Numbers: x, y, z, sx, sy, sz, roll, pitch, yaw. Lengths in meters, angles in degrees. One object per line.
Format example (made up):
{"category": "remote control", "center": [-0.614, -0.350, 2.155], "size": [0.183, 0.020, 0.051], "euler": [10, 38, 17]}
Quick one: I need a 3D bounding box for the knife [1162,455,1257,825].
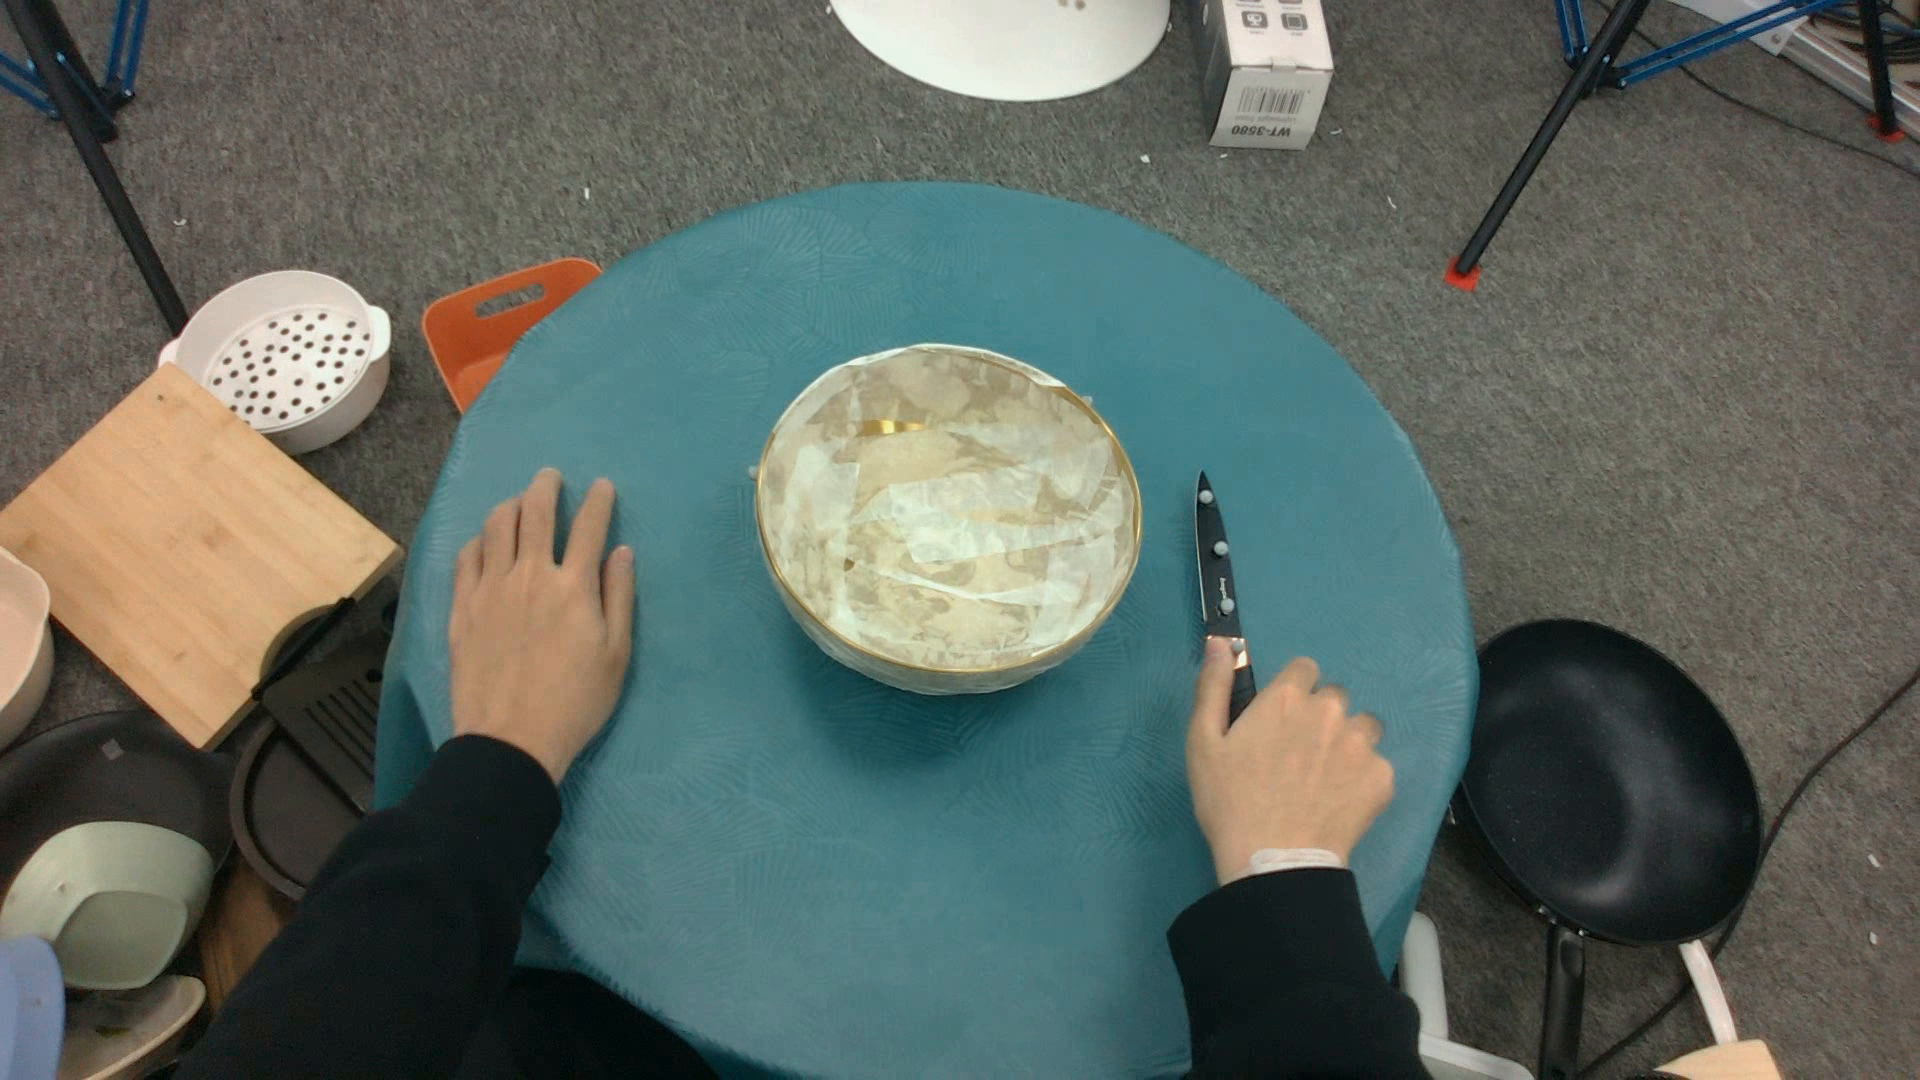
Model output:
{"category": "knife", "center": [0.138, 0.049, 0.768], "size": [0.026, 0.017, 0.226], "euler": [-6, 62, 2]}

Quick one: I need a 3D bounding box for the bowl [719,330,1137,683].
{"category": "bowl", "center": [-0.018, -0.003, 0.733], "size": [0.215, 0.094, 0.215], "euler": [5, 57, -7]}
